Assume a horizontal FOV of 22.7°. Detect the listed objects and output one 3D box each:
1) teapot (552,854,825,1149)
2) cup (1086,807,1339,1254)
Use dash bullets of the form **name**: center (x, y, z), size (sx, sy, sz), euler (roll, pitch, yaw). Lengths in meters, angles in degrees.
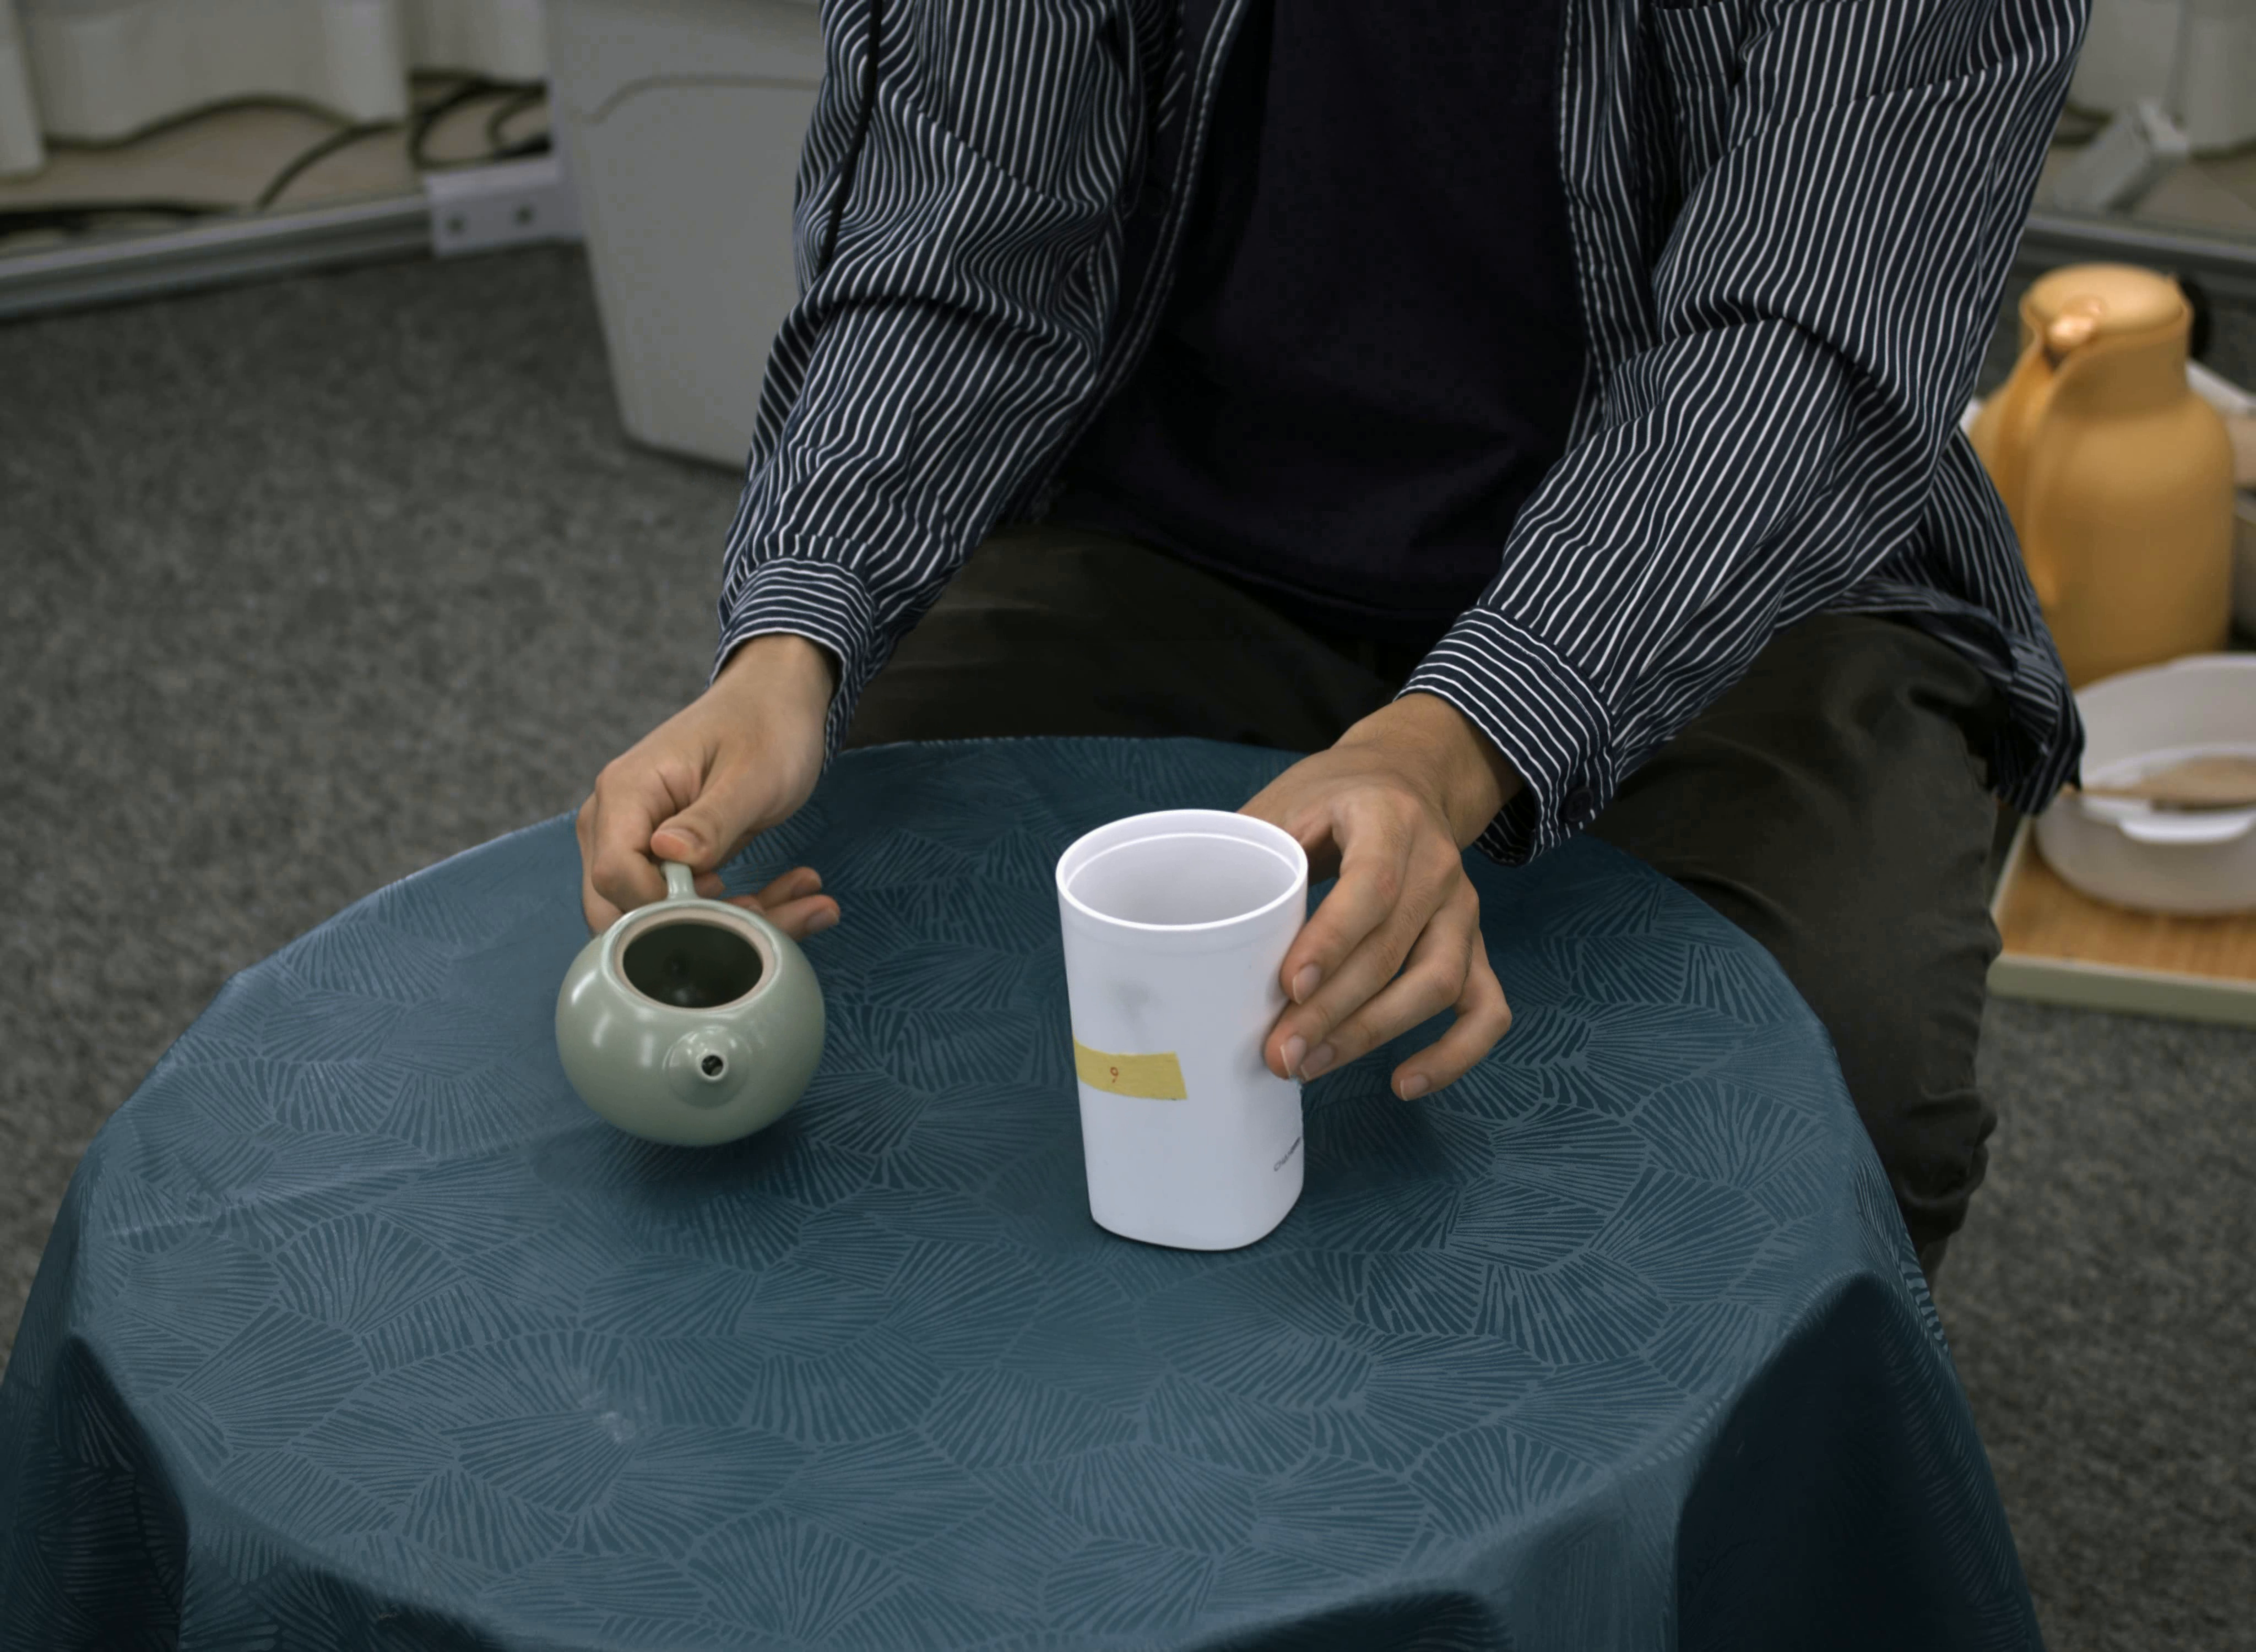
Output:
- **teapot**: center (-0.148, 0.061, 1.888), size (0.091, 0.060, 0.131), euler (-2, 38, -6)
- **cup**: center (0.030, 0.068, 1.816), size (0.081, 0.124, 0.083), euler (-2, 26, 2)
